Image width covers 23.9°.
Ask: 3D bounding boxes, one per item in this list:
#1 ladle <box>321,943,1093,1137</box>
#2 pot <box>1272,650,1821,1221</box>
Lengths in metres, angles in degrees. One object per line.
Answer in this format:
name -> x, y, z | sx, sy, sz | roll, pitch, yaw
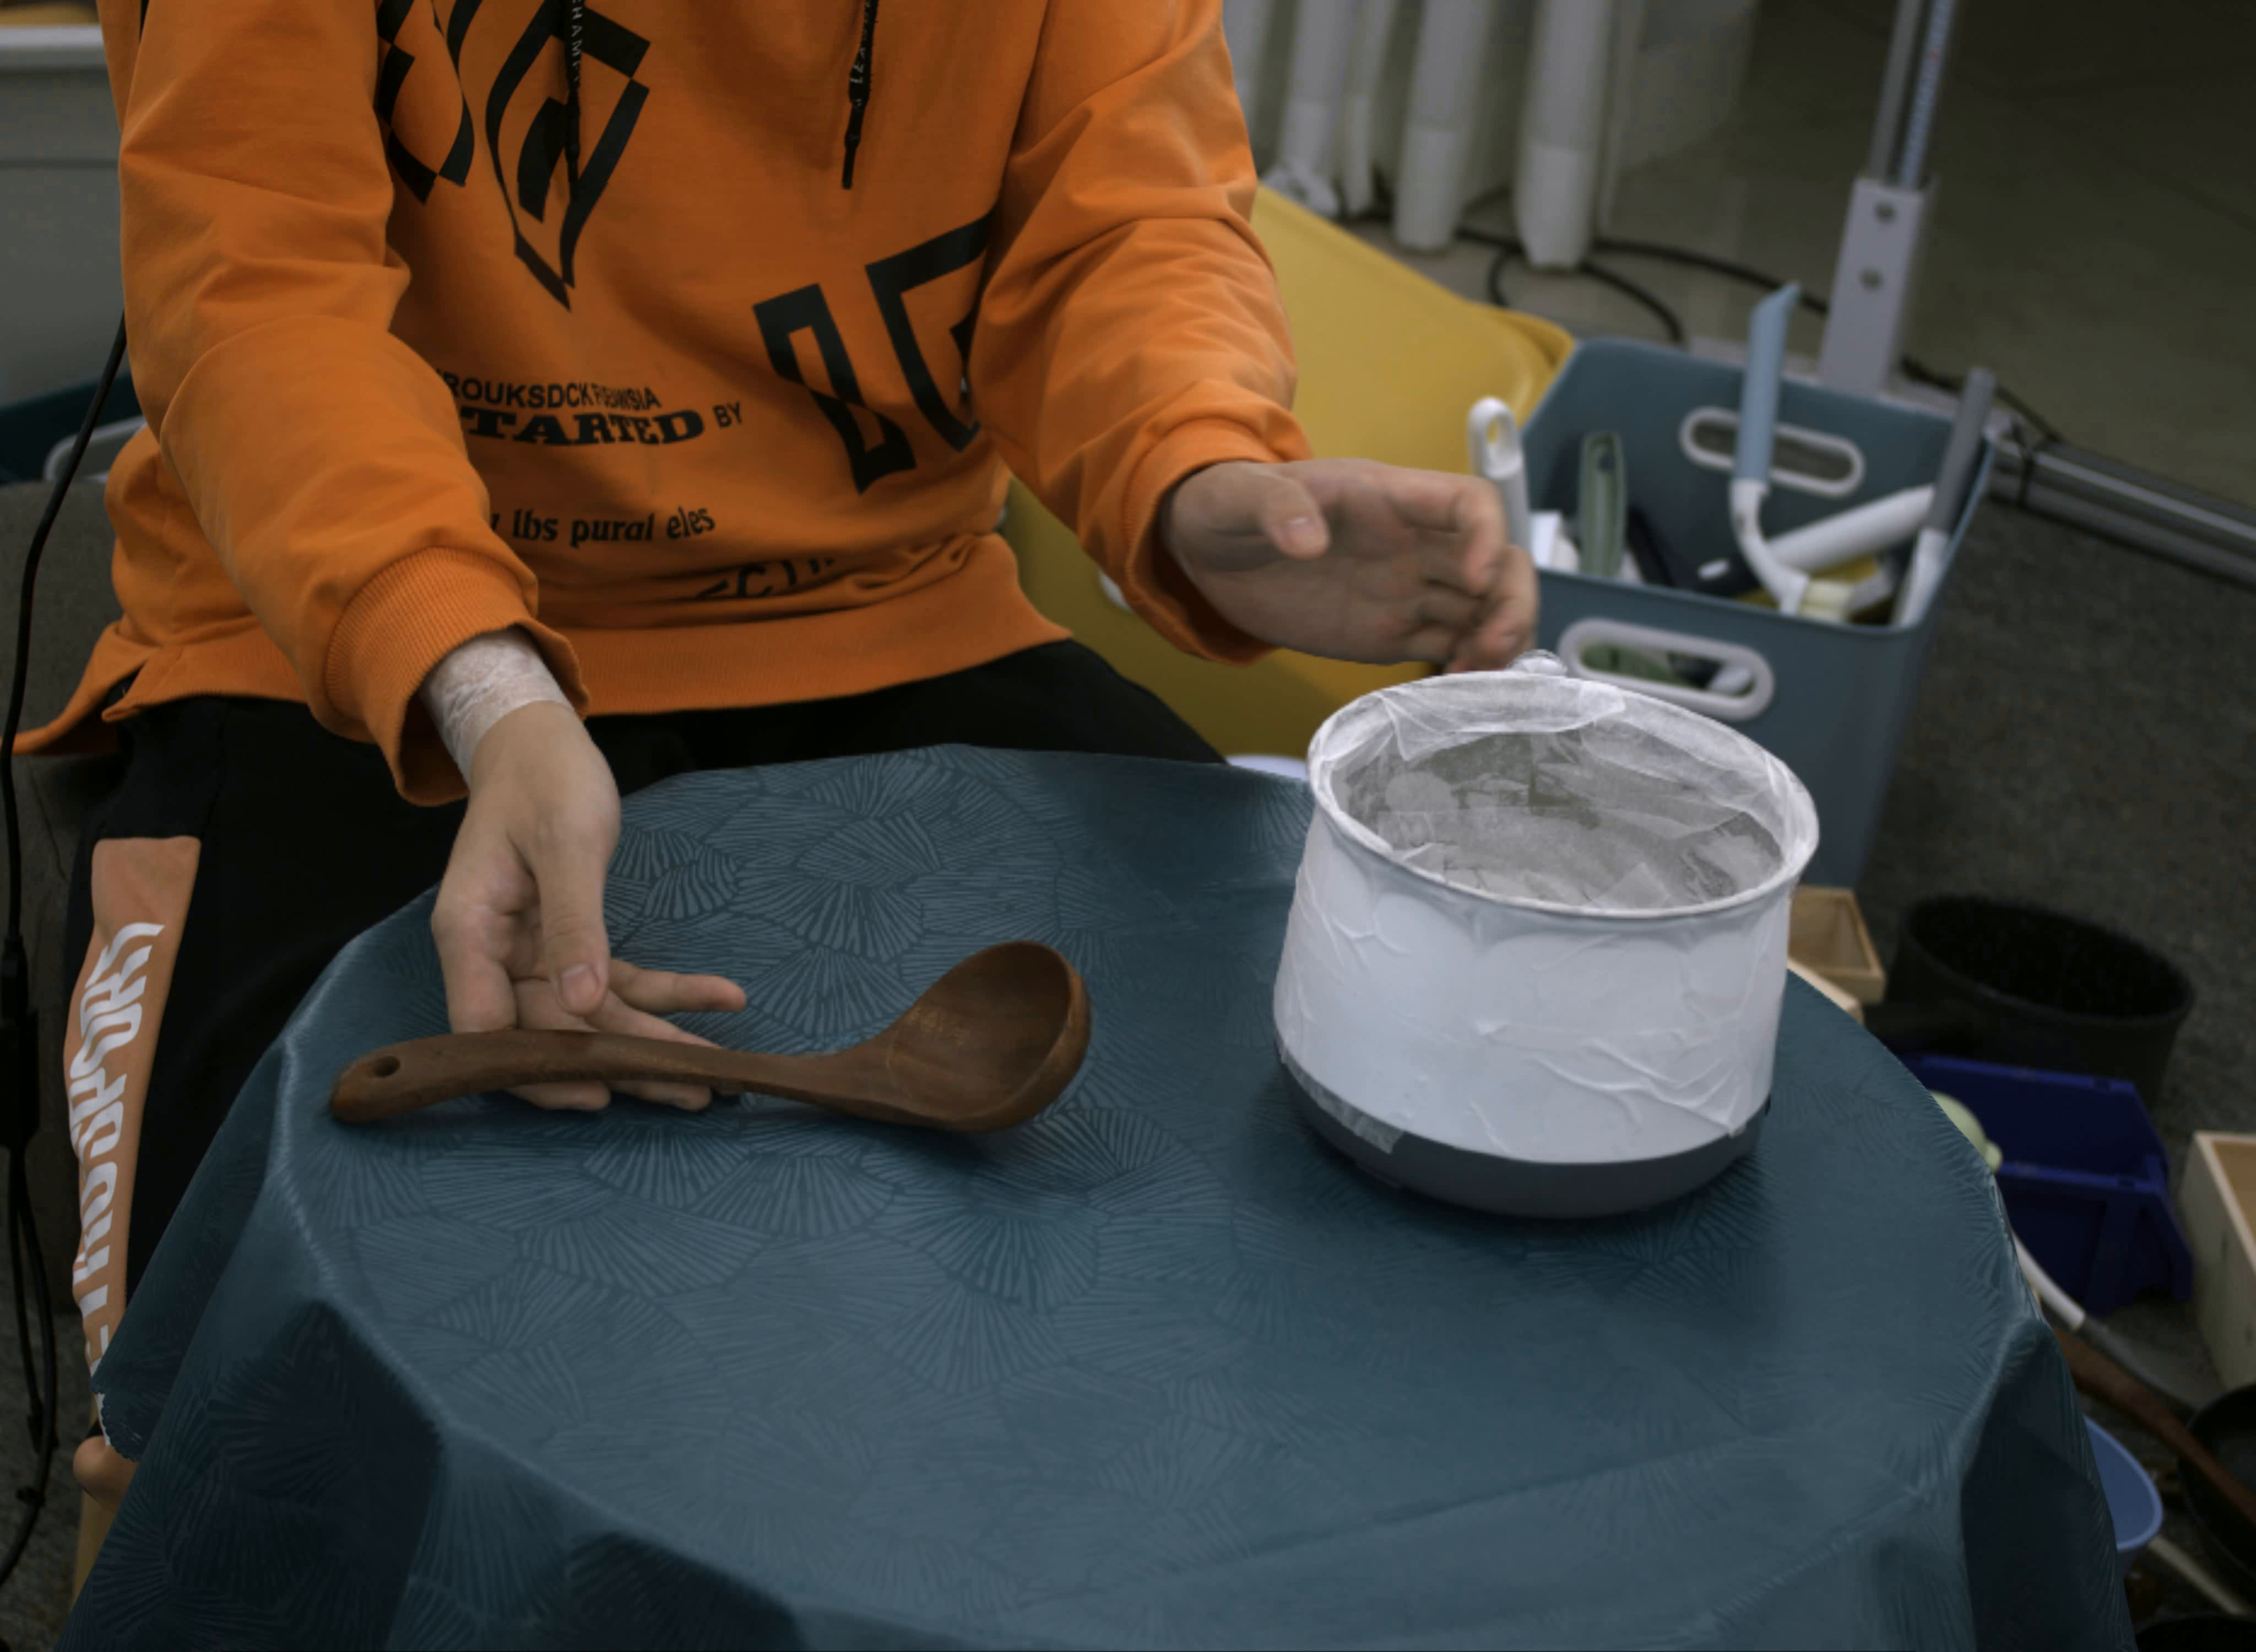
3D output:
ladle -> -0.141, 0.073, 1.800 | 0.259, 0.065, 0.077 | 1, 33, -12
pot -> 0.140, 0.031, 1.866 | 0.178, 0.136, 0.235 | 5, 27, -4
